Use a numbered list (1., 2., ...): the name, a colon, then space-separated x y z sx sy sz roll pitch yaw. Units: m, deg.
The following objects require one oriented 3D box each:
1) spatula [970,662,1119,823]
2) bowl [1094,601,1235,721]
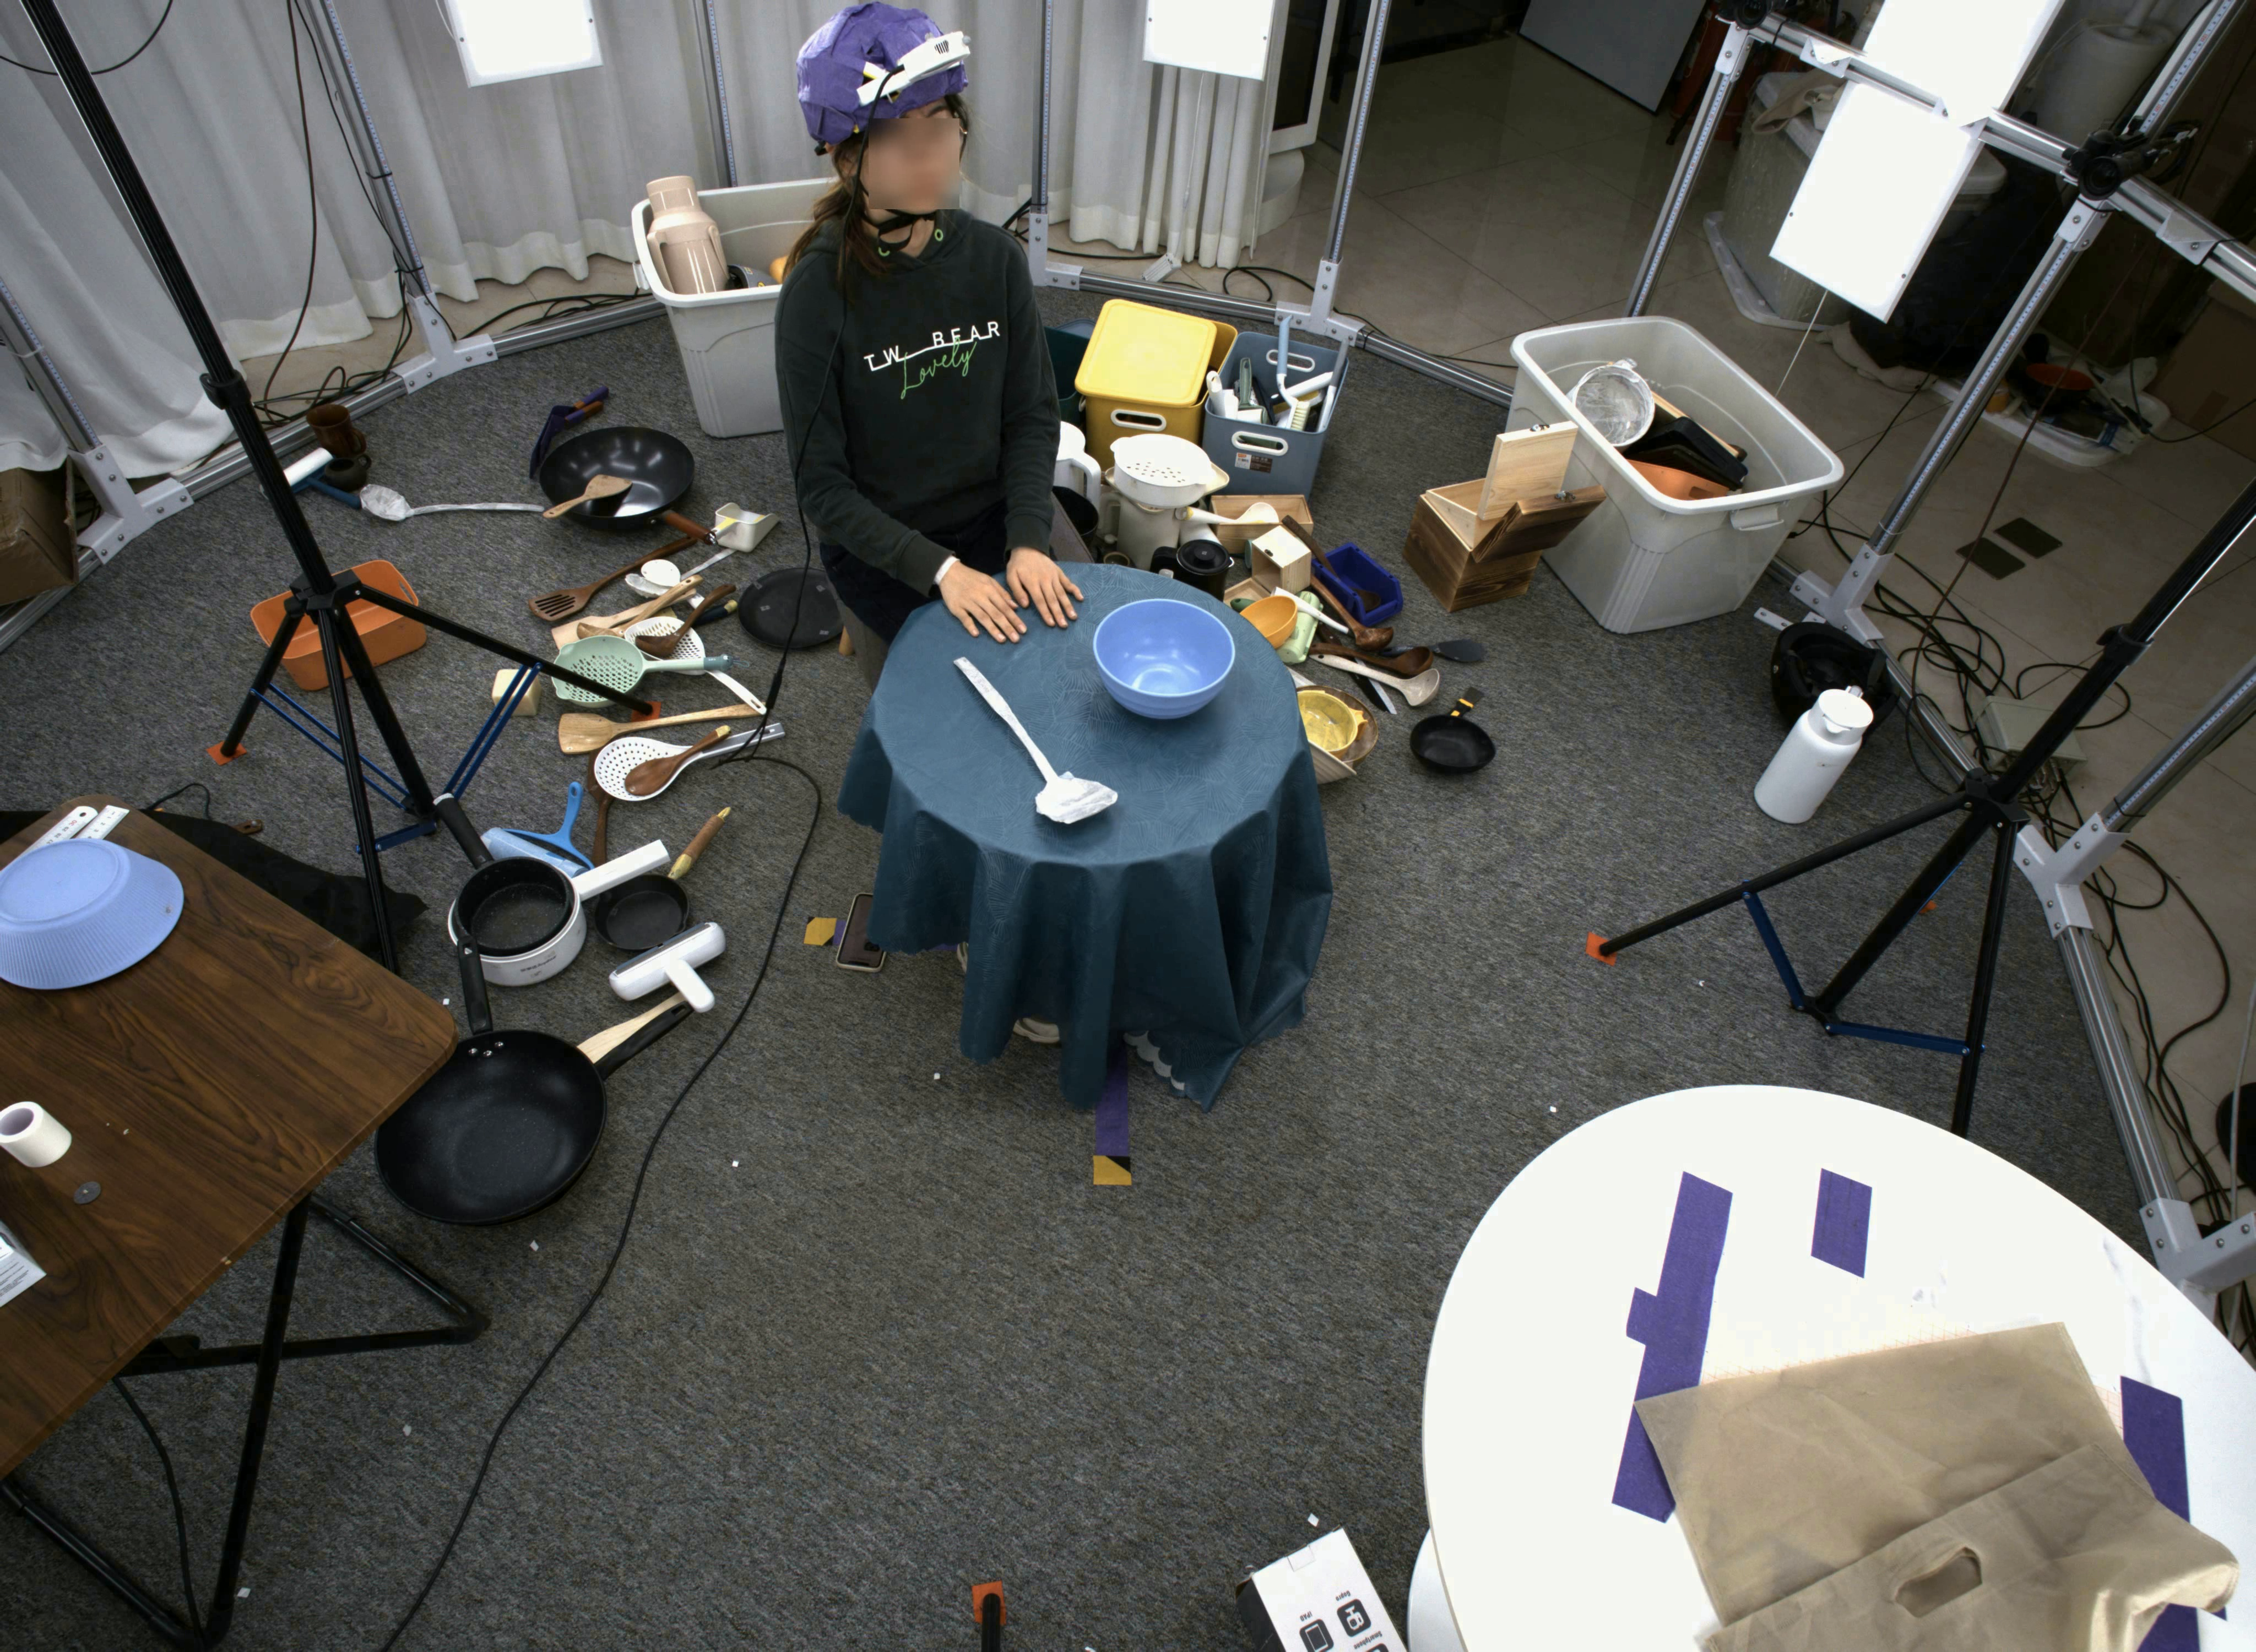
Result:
1. spatula: -0.137 -0.125 1.758 0.099 0.043 0.372 -23 54 -20
2. bowl: 0.048 -0.218 1.816 0.196 0.093 0.201 1 50 -2
